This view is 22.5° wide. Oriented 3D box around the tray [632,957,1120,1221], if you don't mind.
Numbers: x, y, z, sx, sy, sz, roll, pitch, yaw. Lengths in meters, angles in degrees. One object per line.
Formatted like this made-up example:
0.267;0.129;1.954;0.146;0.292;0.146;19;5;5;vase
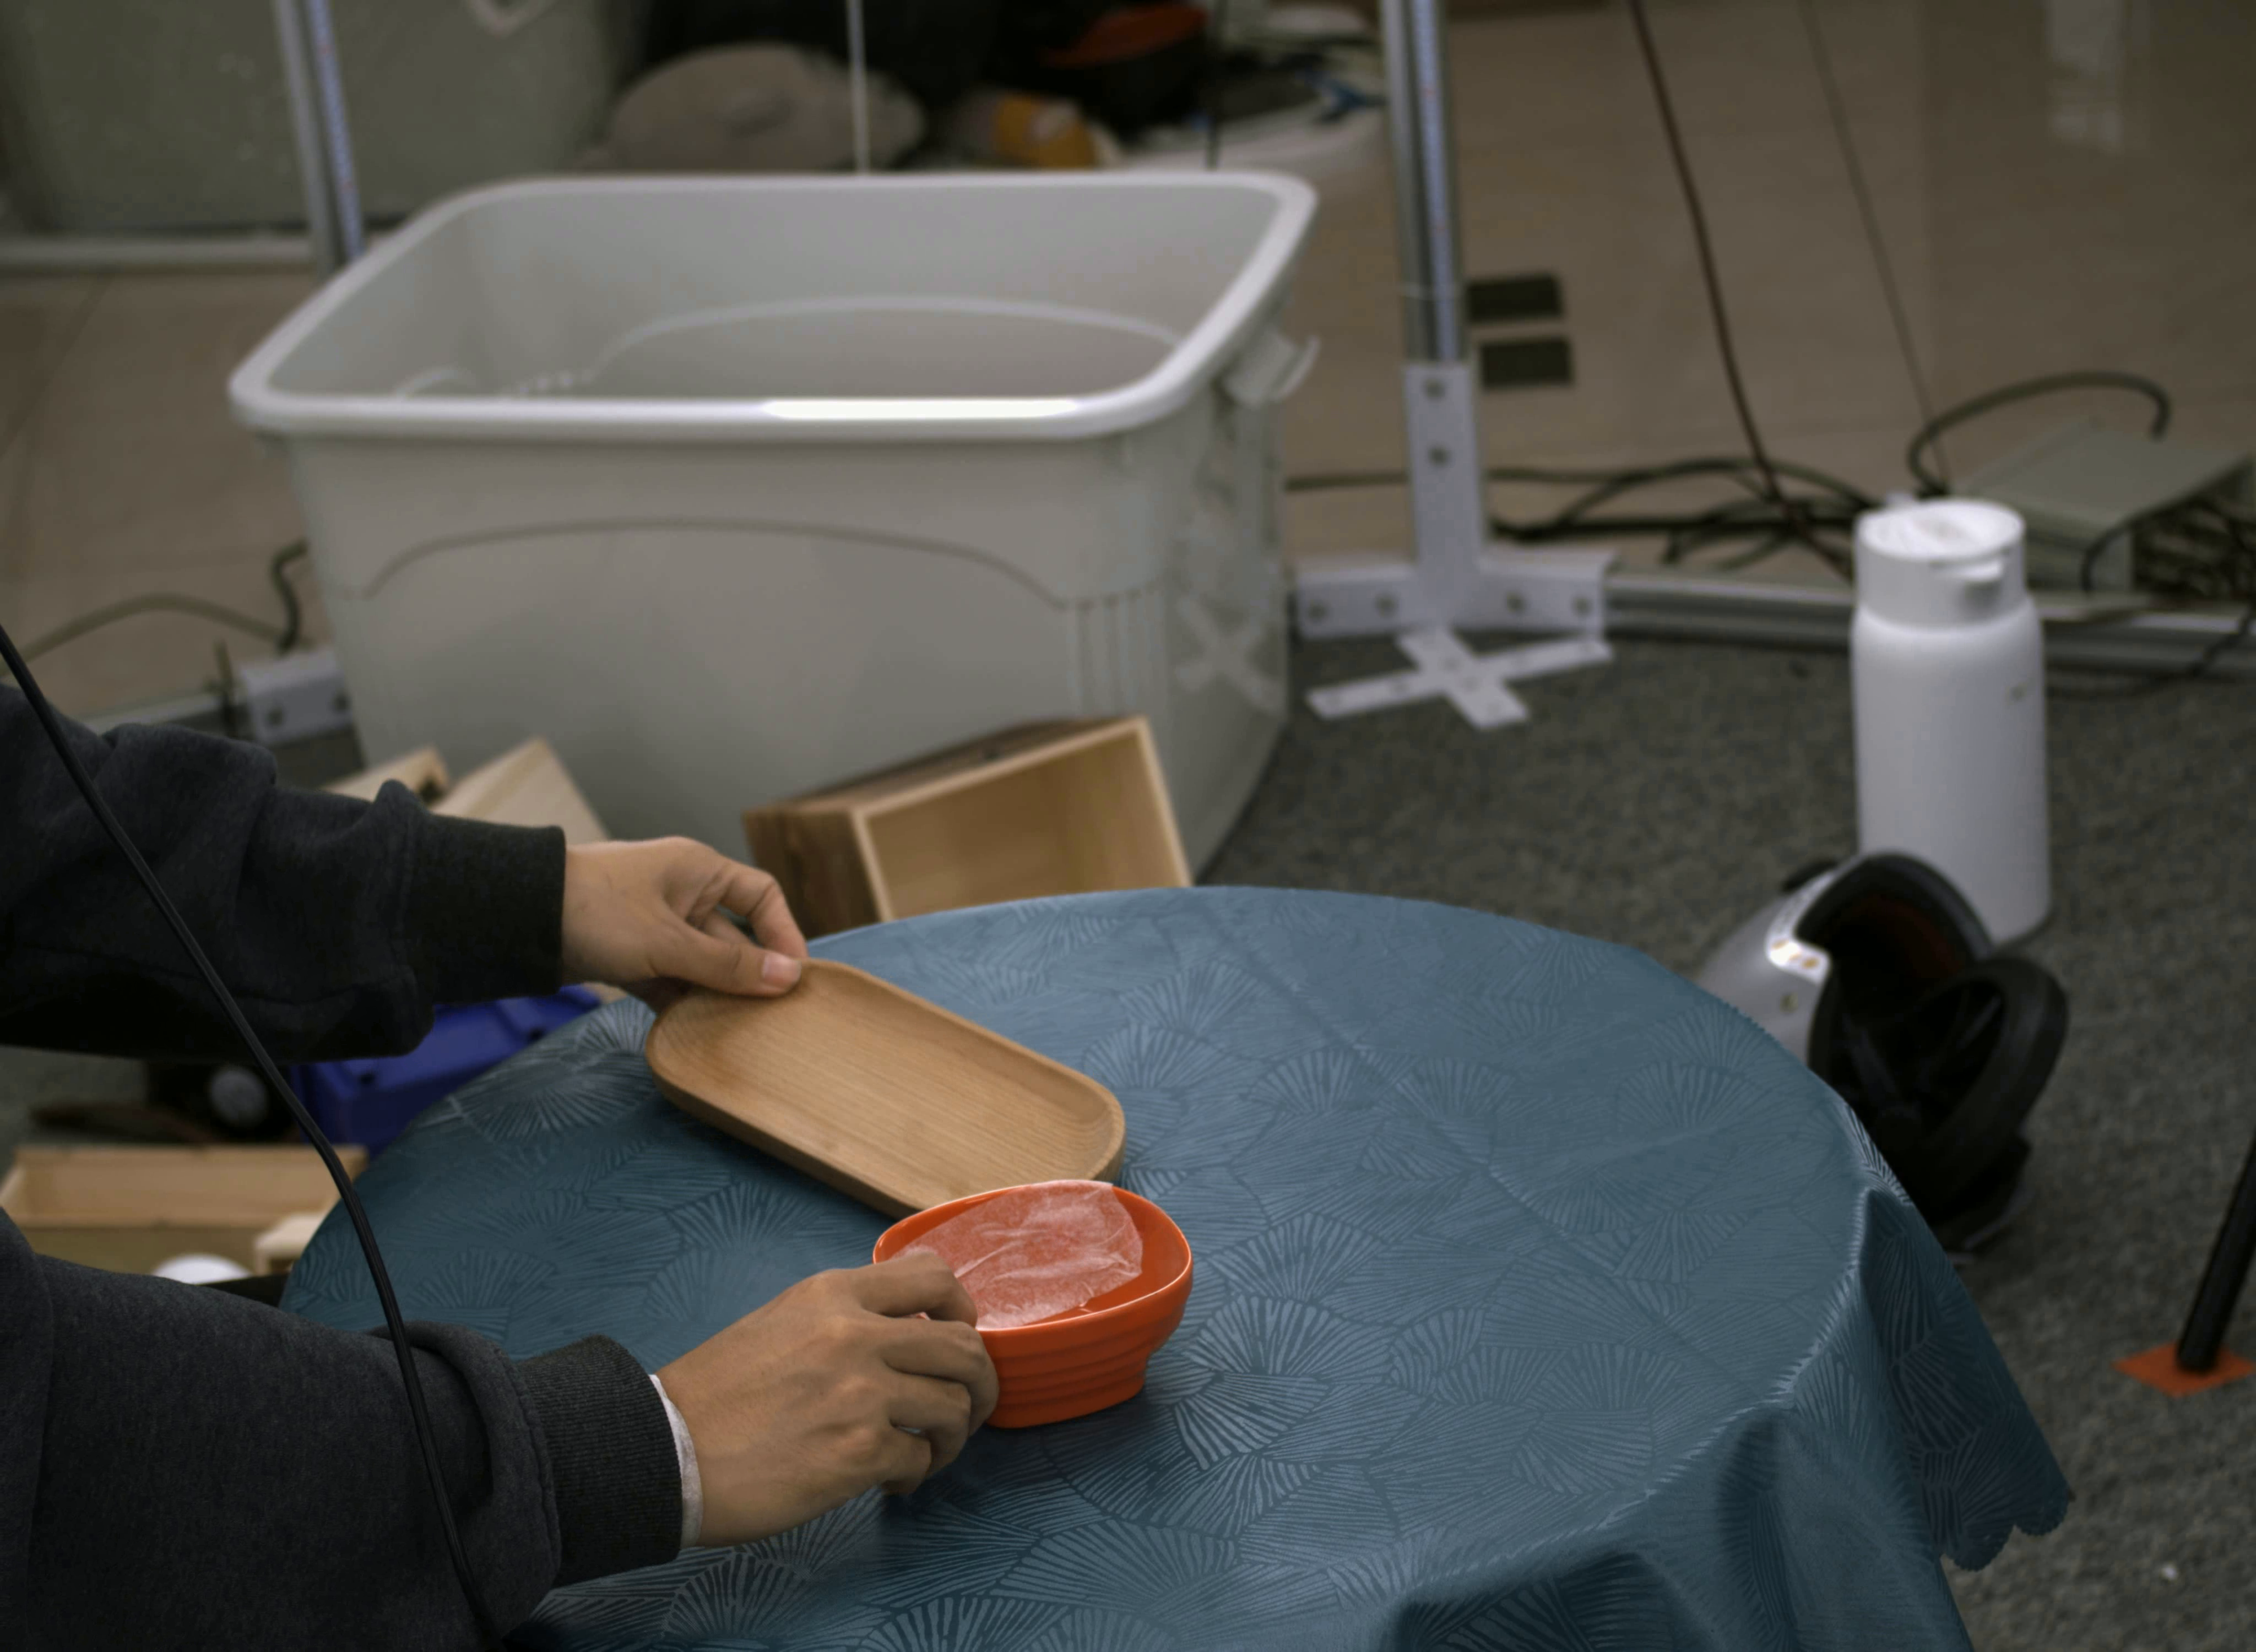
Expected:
-0.099;0.105;2.203;0.229;0.021;0.101;21;42;41;tray

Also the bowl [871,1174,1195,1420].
-0.033;0.171;2.015;0.119;0.052;0.117;-1;24;1;bowl
